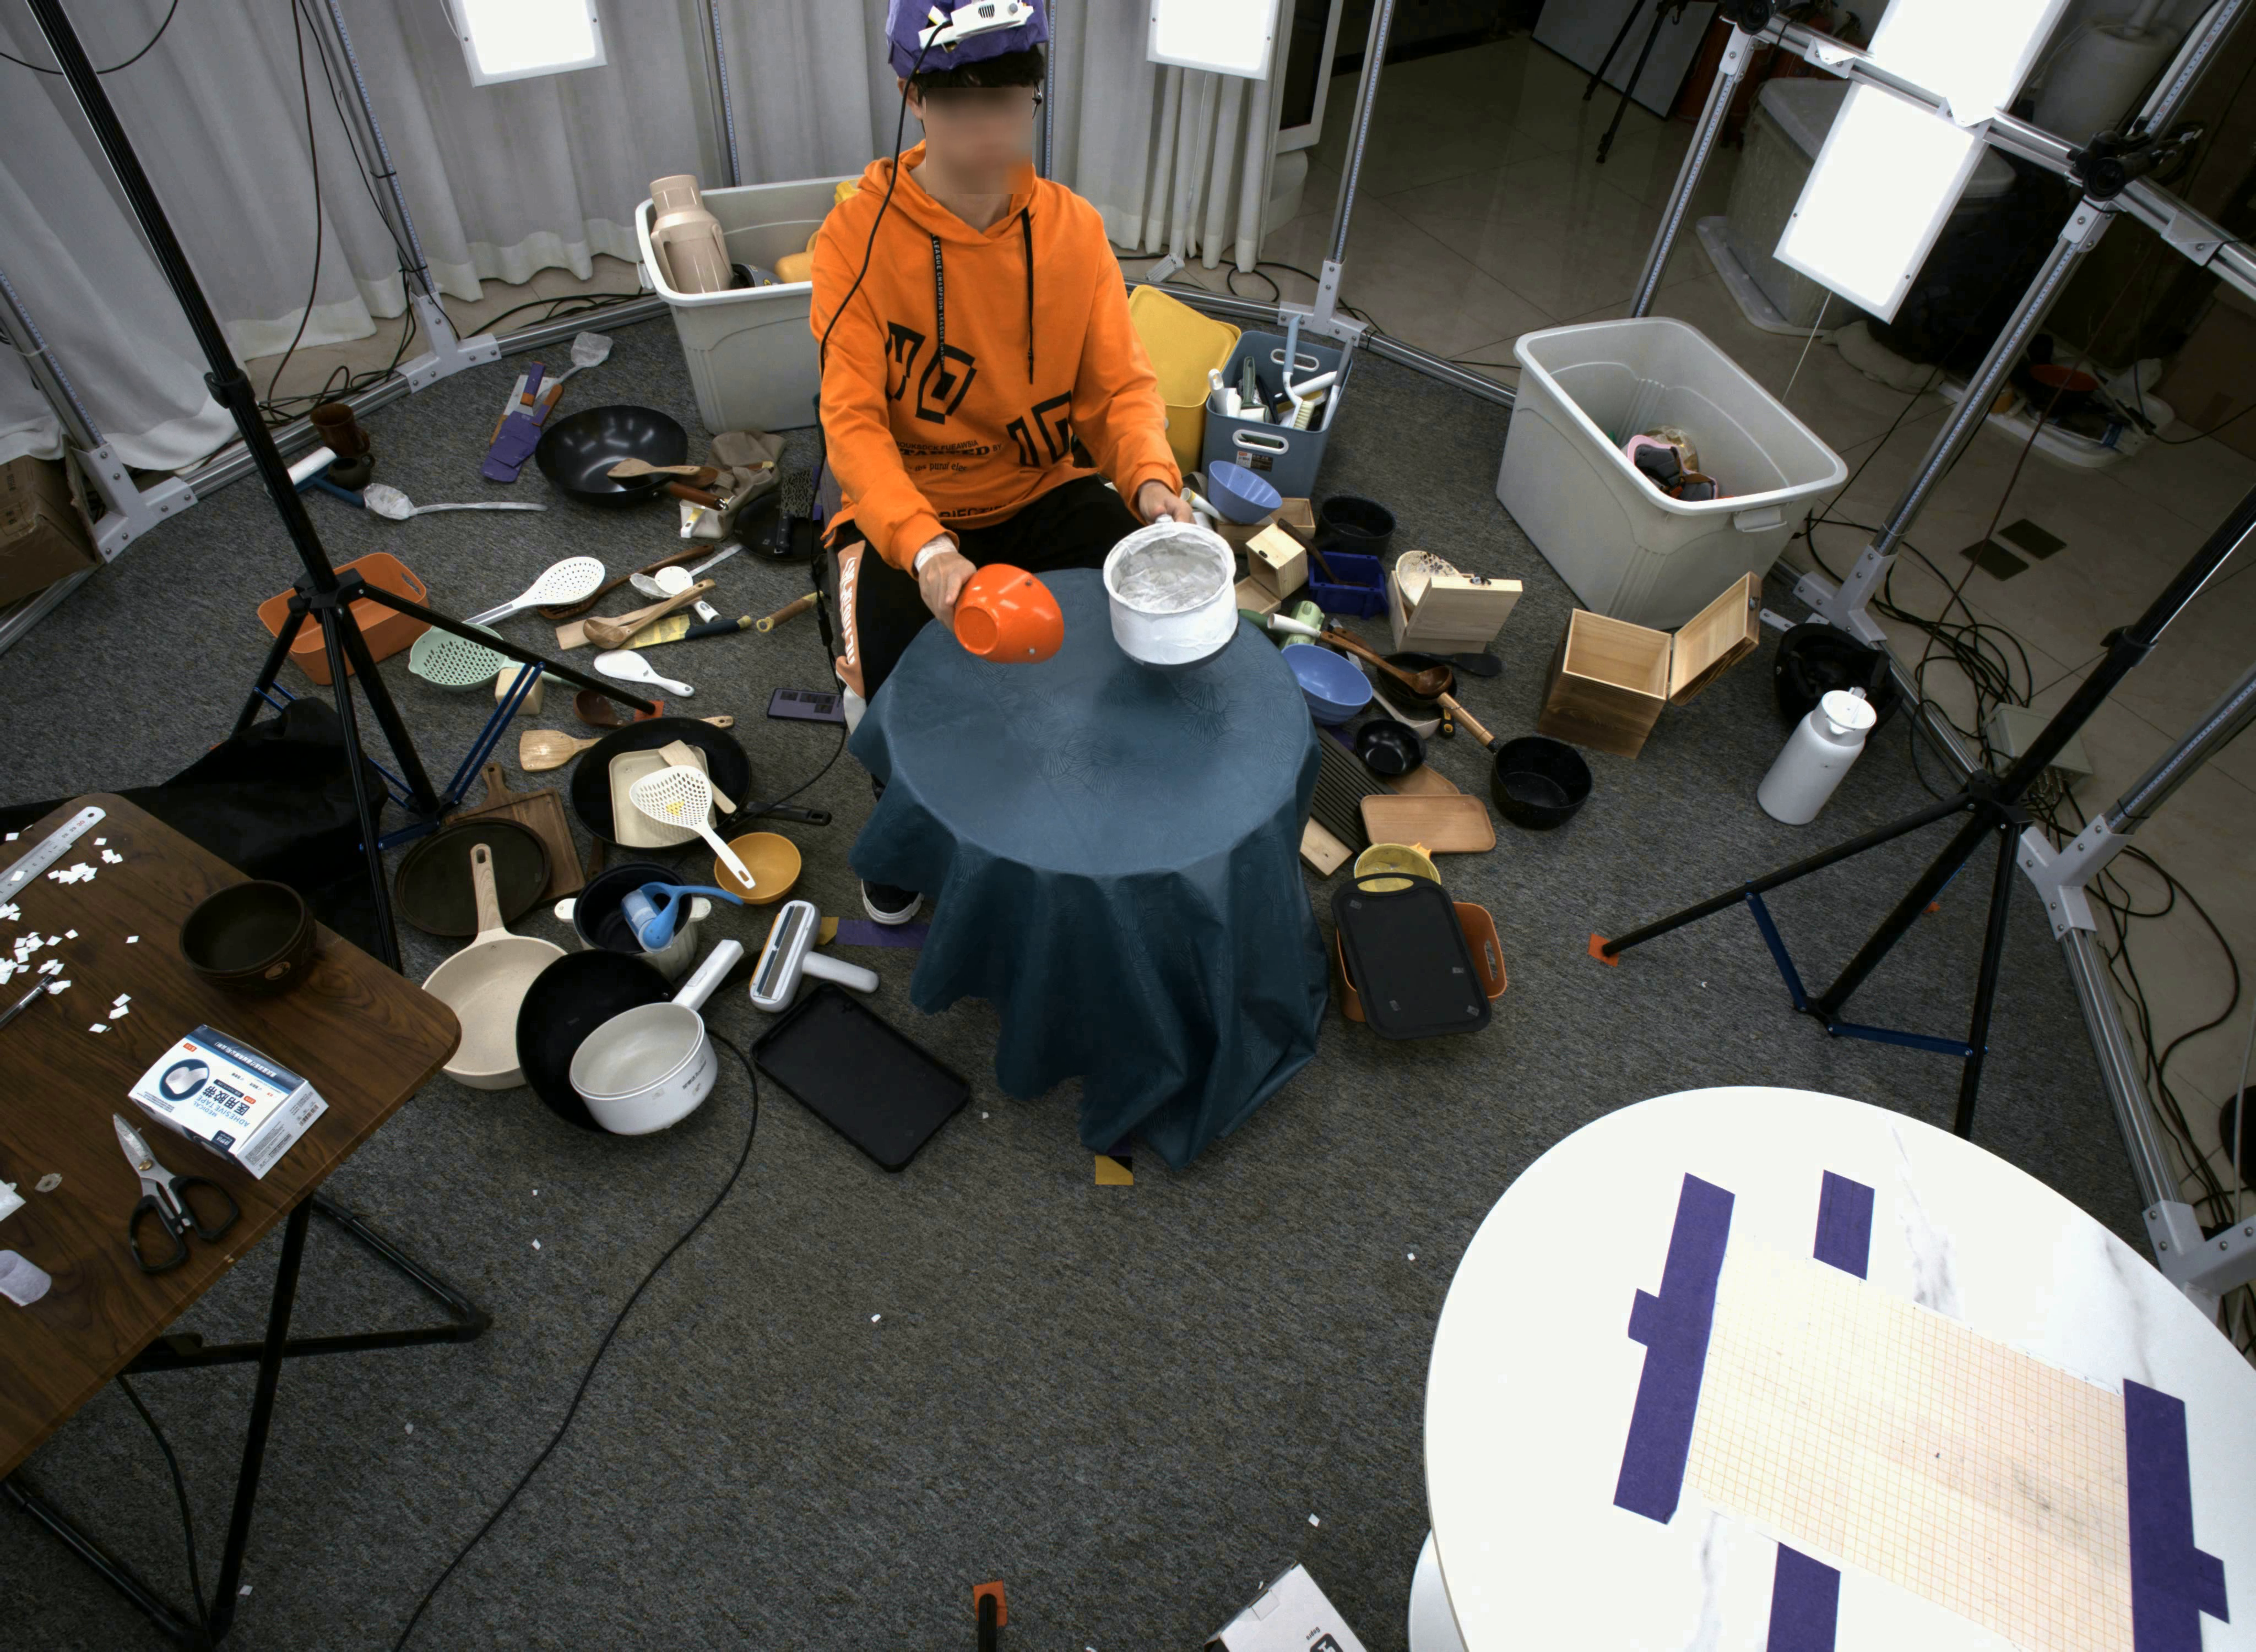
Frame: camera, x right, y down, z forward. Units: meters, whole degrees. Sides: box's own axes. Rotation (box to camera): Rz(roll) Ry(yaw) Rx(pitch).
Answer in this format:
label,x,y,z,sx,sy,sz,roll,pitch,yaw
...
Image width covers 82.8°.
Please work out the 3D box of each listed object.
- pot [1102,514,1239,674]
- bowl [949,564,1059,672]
label,x,y,z,sx,sy,sz,roll,pitch,yaw
pot,0.059,-0.331,1.779,0.178,0.133,0.239,-7,52,3
bowl,-0.173,-0.257,1.651,0.149,0.145,0.106,24,28,16
